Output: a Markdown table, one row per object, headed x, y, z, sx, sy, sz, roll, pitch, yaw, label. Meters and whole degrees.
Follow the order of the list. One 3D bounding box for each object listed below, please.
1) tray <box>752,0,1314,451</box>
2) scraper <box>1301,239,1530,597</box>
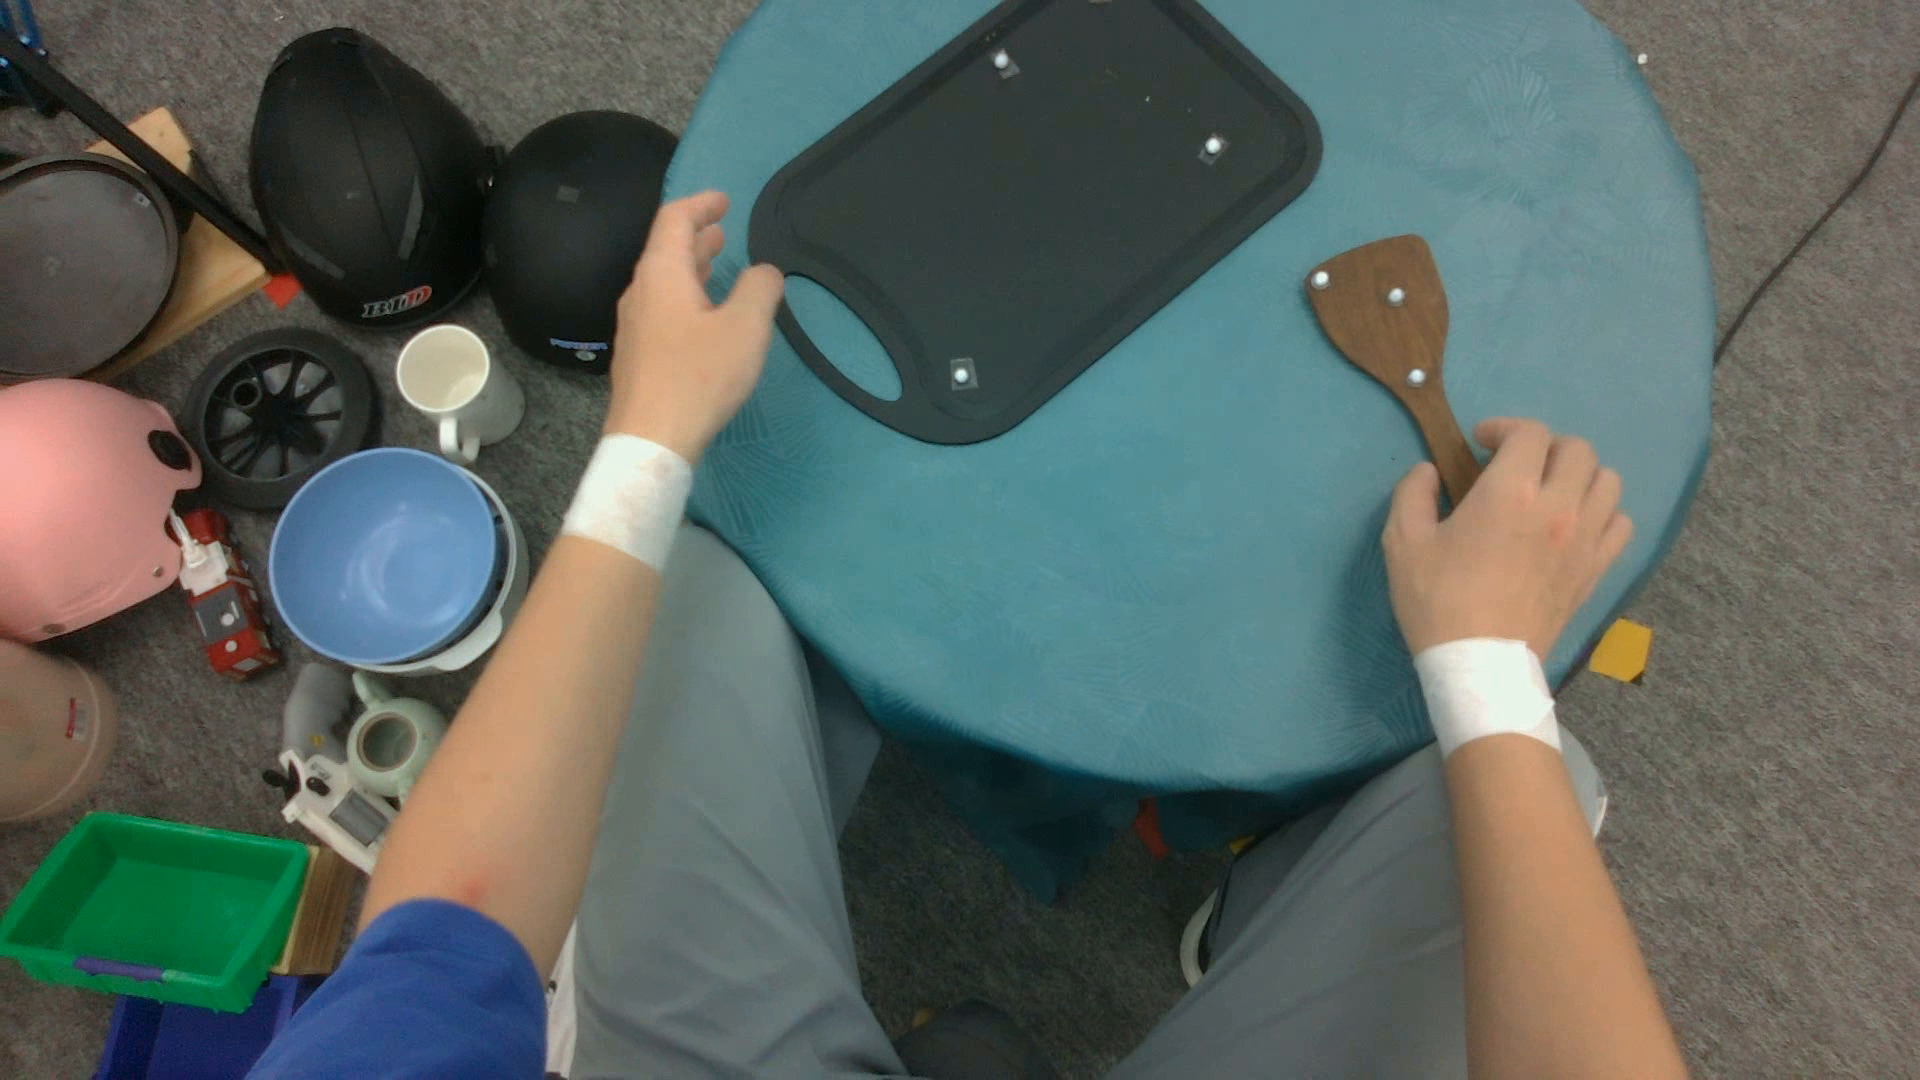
| x | y | z | sx | sy | sz | roll | pitch | yaw | label |
| --- | --- | --- | --- | --- | --- | --- | --- | --- | --- |
| 0.038 | -0.198 | 0.807 | 0.326 | 0.010 | 0.211 | -40 | 76 | -9 | tray |
| 0.260 | -0.068 | 0.762 | 0.076 | 0.011 | 0.211 | -19 | 75 | -3 | scraper |
